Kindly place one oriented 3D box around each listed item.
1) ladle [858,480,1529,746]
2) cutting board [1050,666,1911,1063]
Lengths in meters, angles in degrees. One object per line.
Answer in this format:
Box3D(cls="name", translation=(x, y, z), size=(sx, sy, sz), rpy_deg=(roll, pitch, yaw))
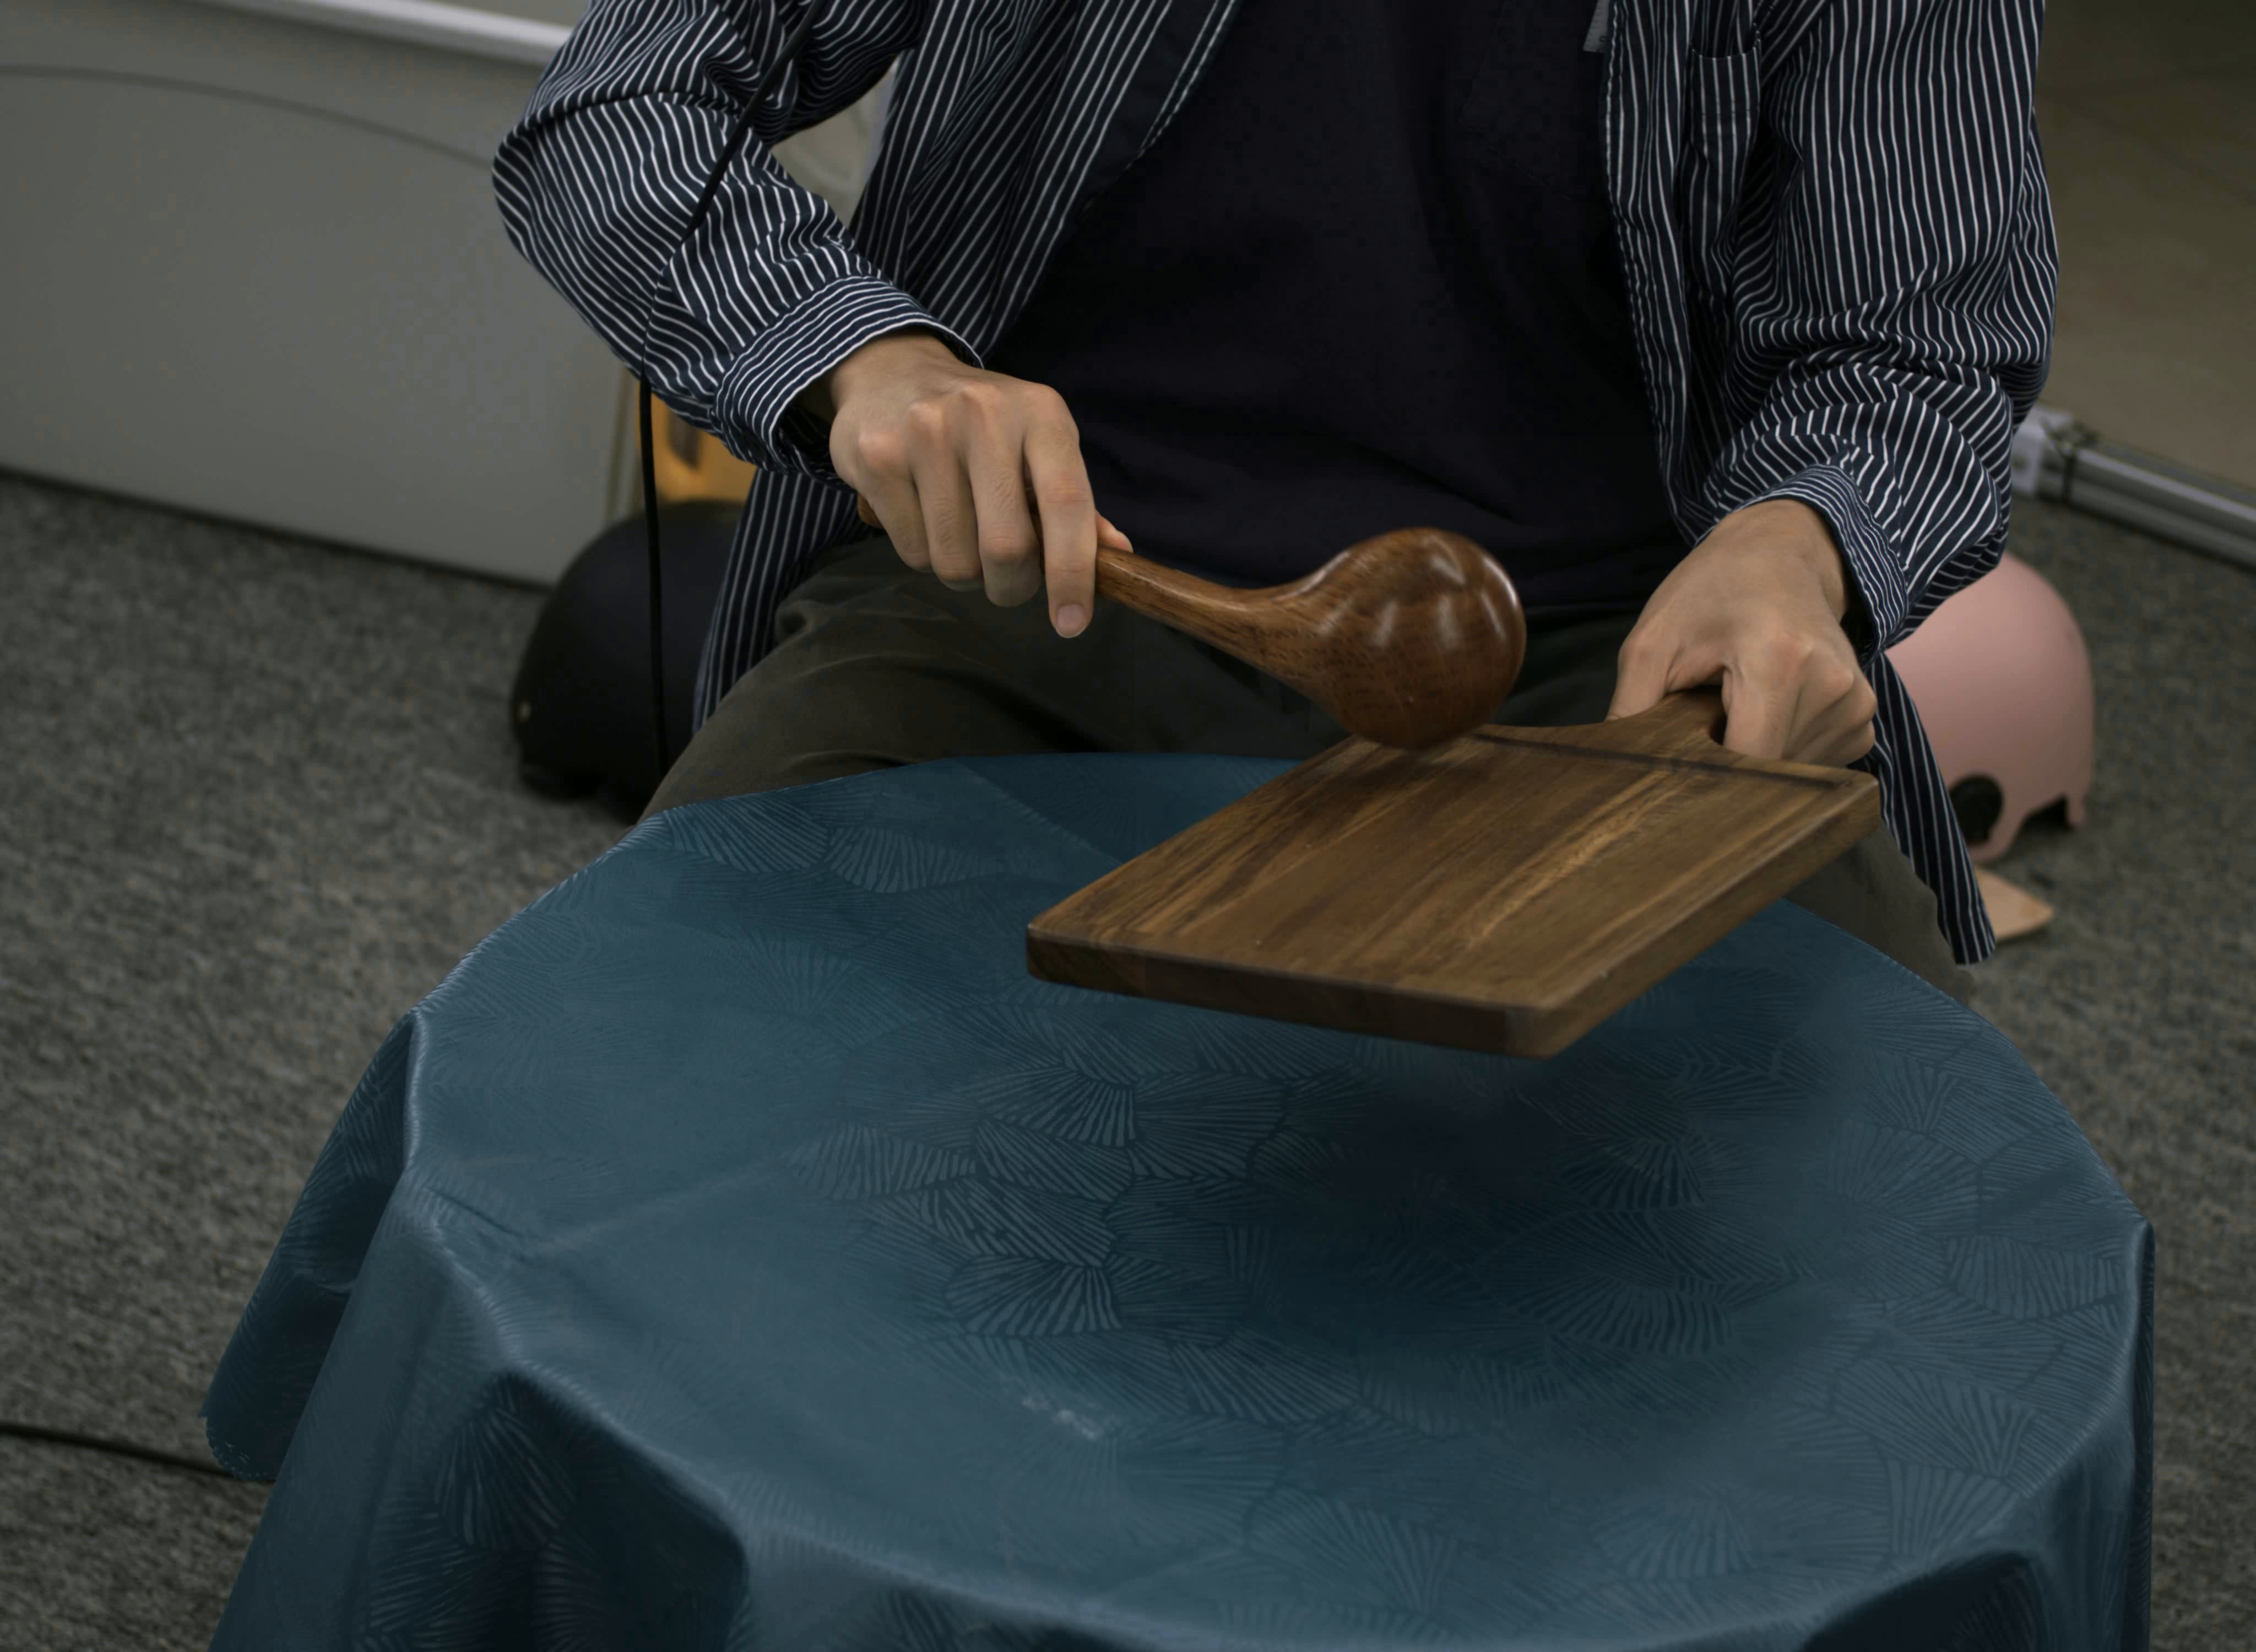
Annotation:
Box3D(cls="ladle", translation=(0.023, -0.094, 1.923), size=(0.276, 0.082, 0.076), rpy_deg=(20, 23, 40))
Box3D(cls="cutting board", translation=(0.147, 0.003, 1.807), size=(0.202, 0.023, 0.351), rpy_deg=(8, 21, 33))
